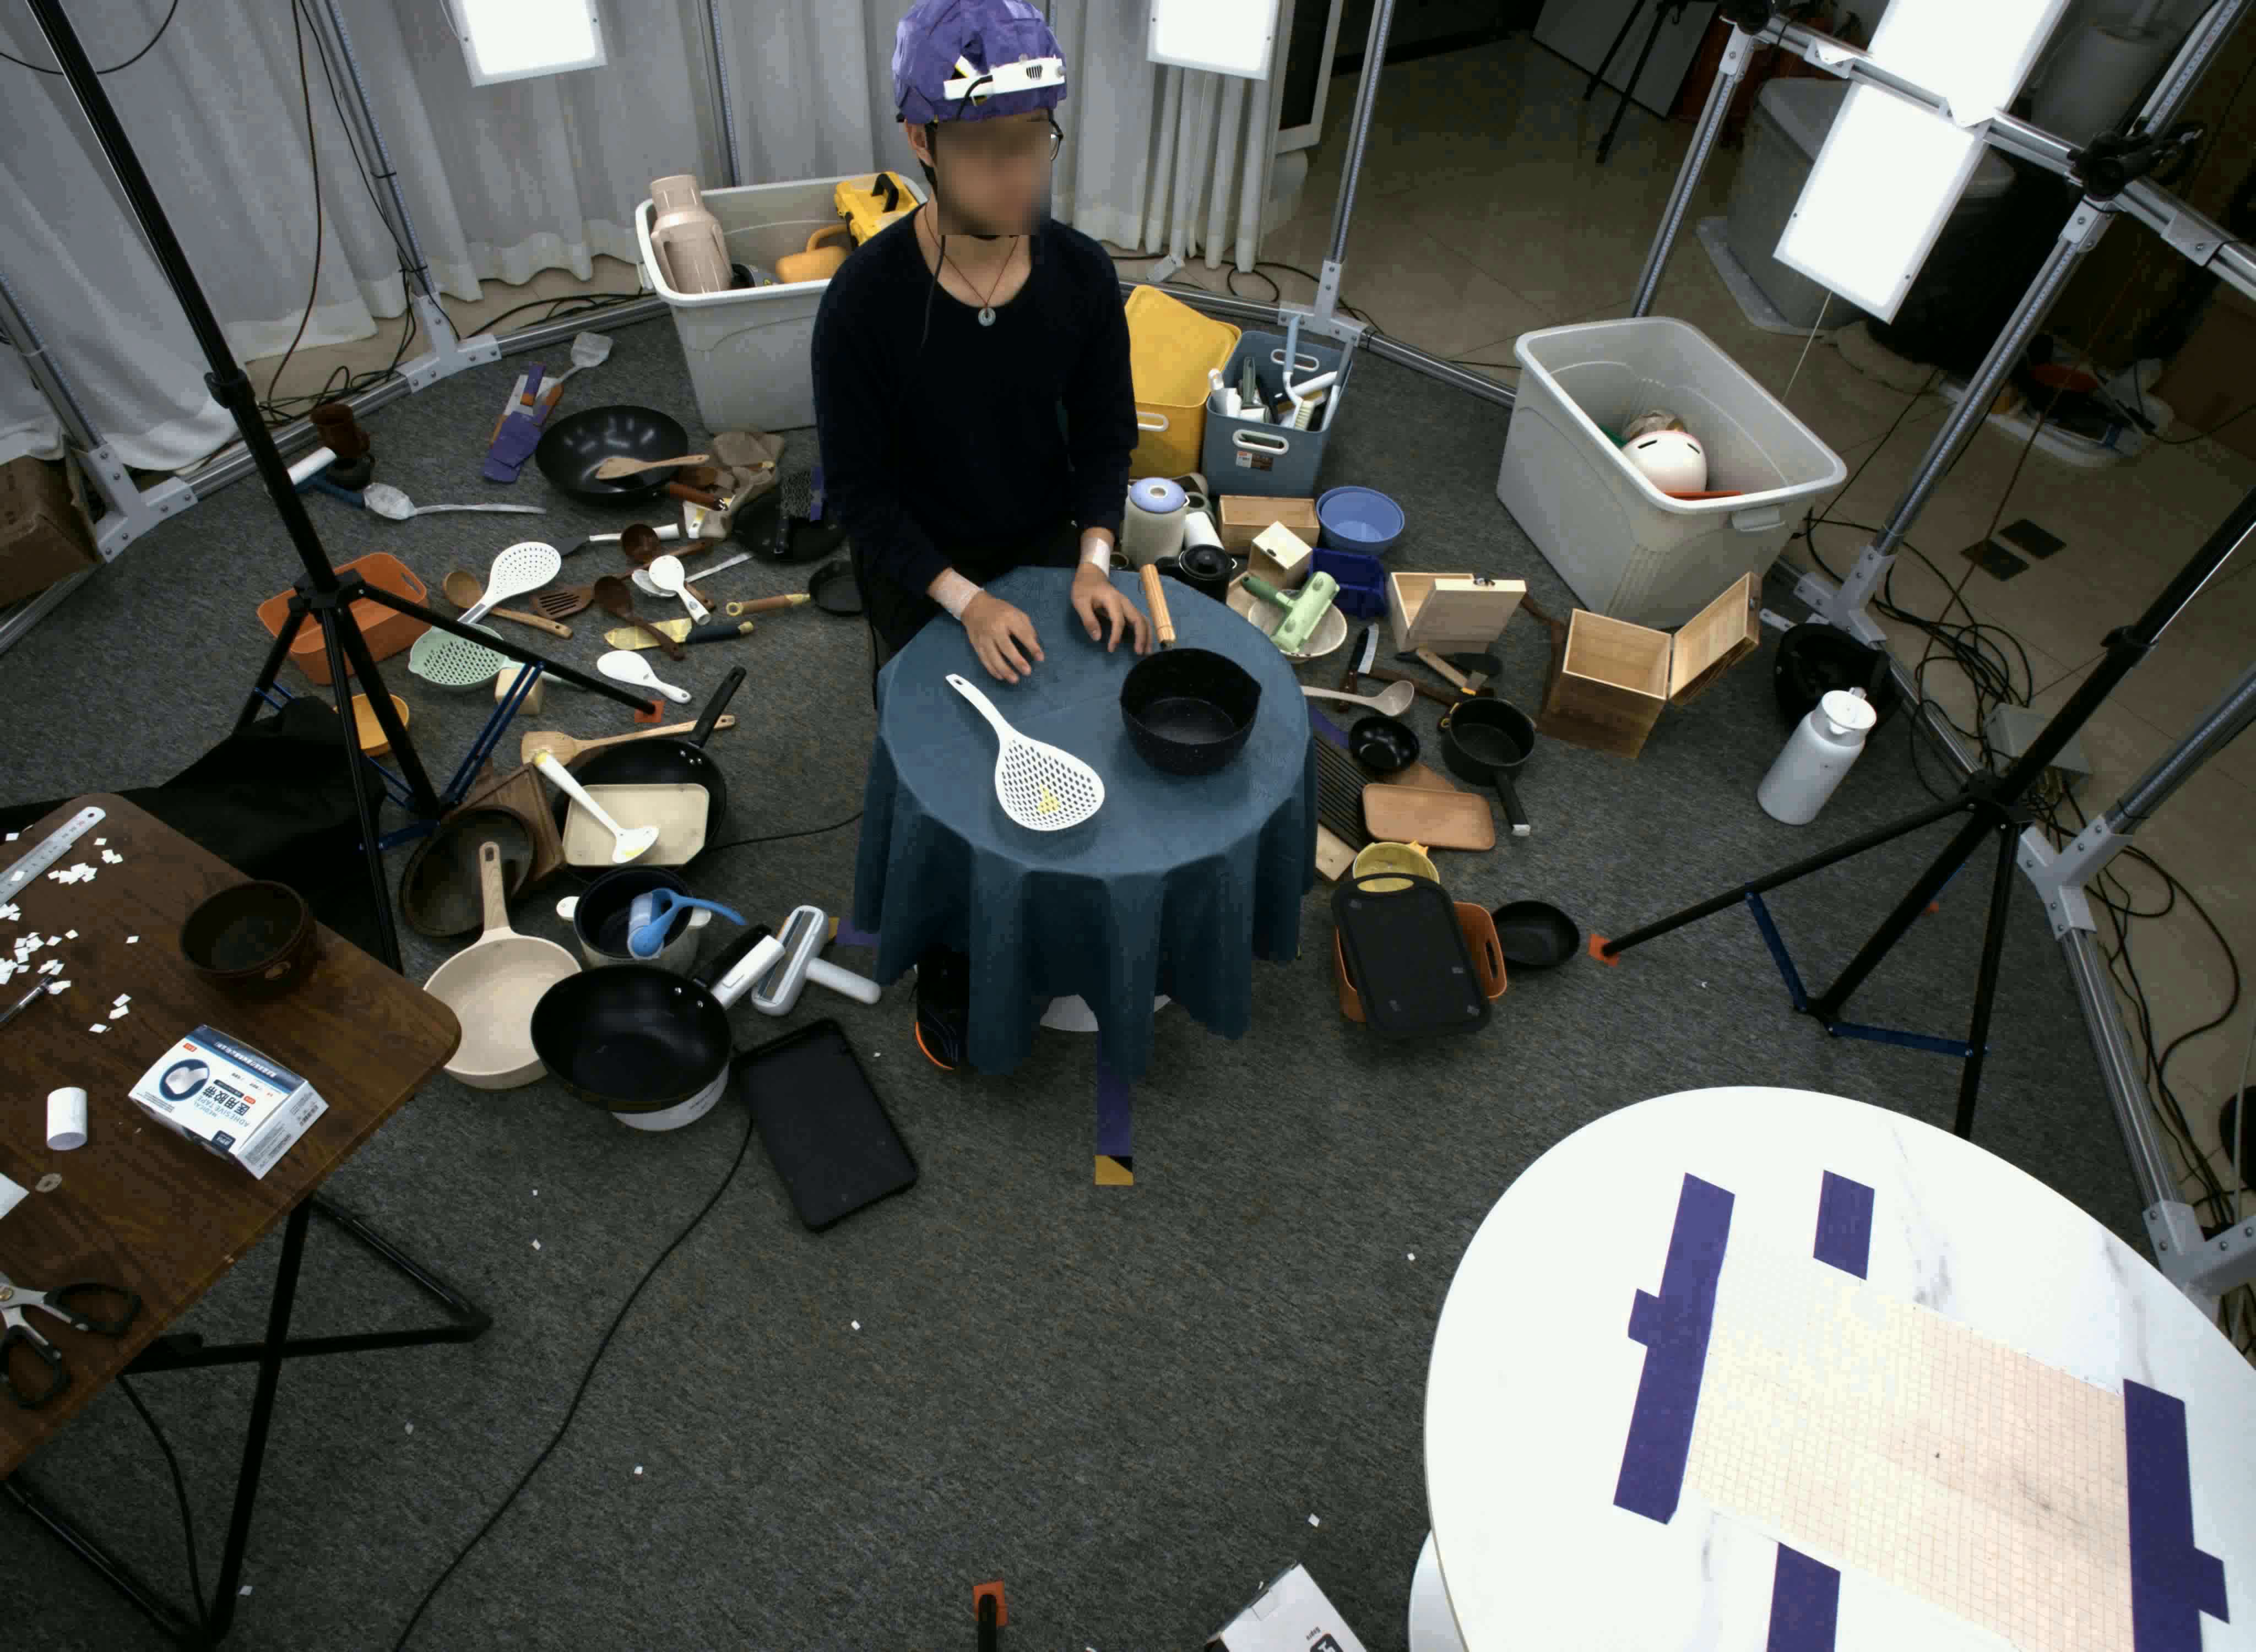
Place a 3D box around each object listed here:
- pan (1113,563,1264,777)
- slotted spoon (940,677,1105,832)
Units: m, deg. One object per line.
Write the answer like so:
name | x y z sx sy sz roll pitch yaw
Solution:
pan | 0.063 -0.218 1.793 0.207 0.105 0.351 -10 52 -11
slotted spoon | -0.160 -0.109 1.724 0.137 0.049 0.355 -25 57 -21
